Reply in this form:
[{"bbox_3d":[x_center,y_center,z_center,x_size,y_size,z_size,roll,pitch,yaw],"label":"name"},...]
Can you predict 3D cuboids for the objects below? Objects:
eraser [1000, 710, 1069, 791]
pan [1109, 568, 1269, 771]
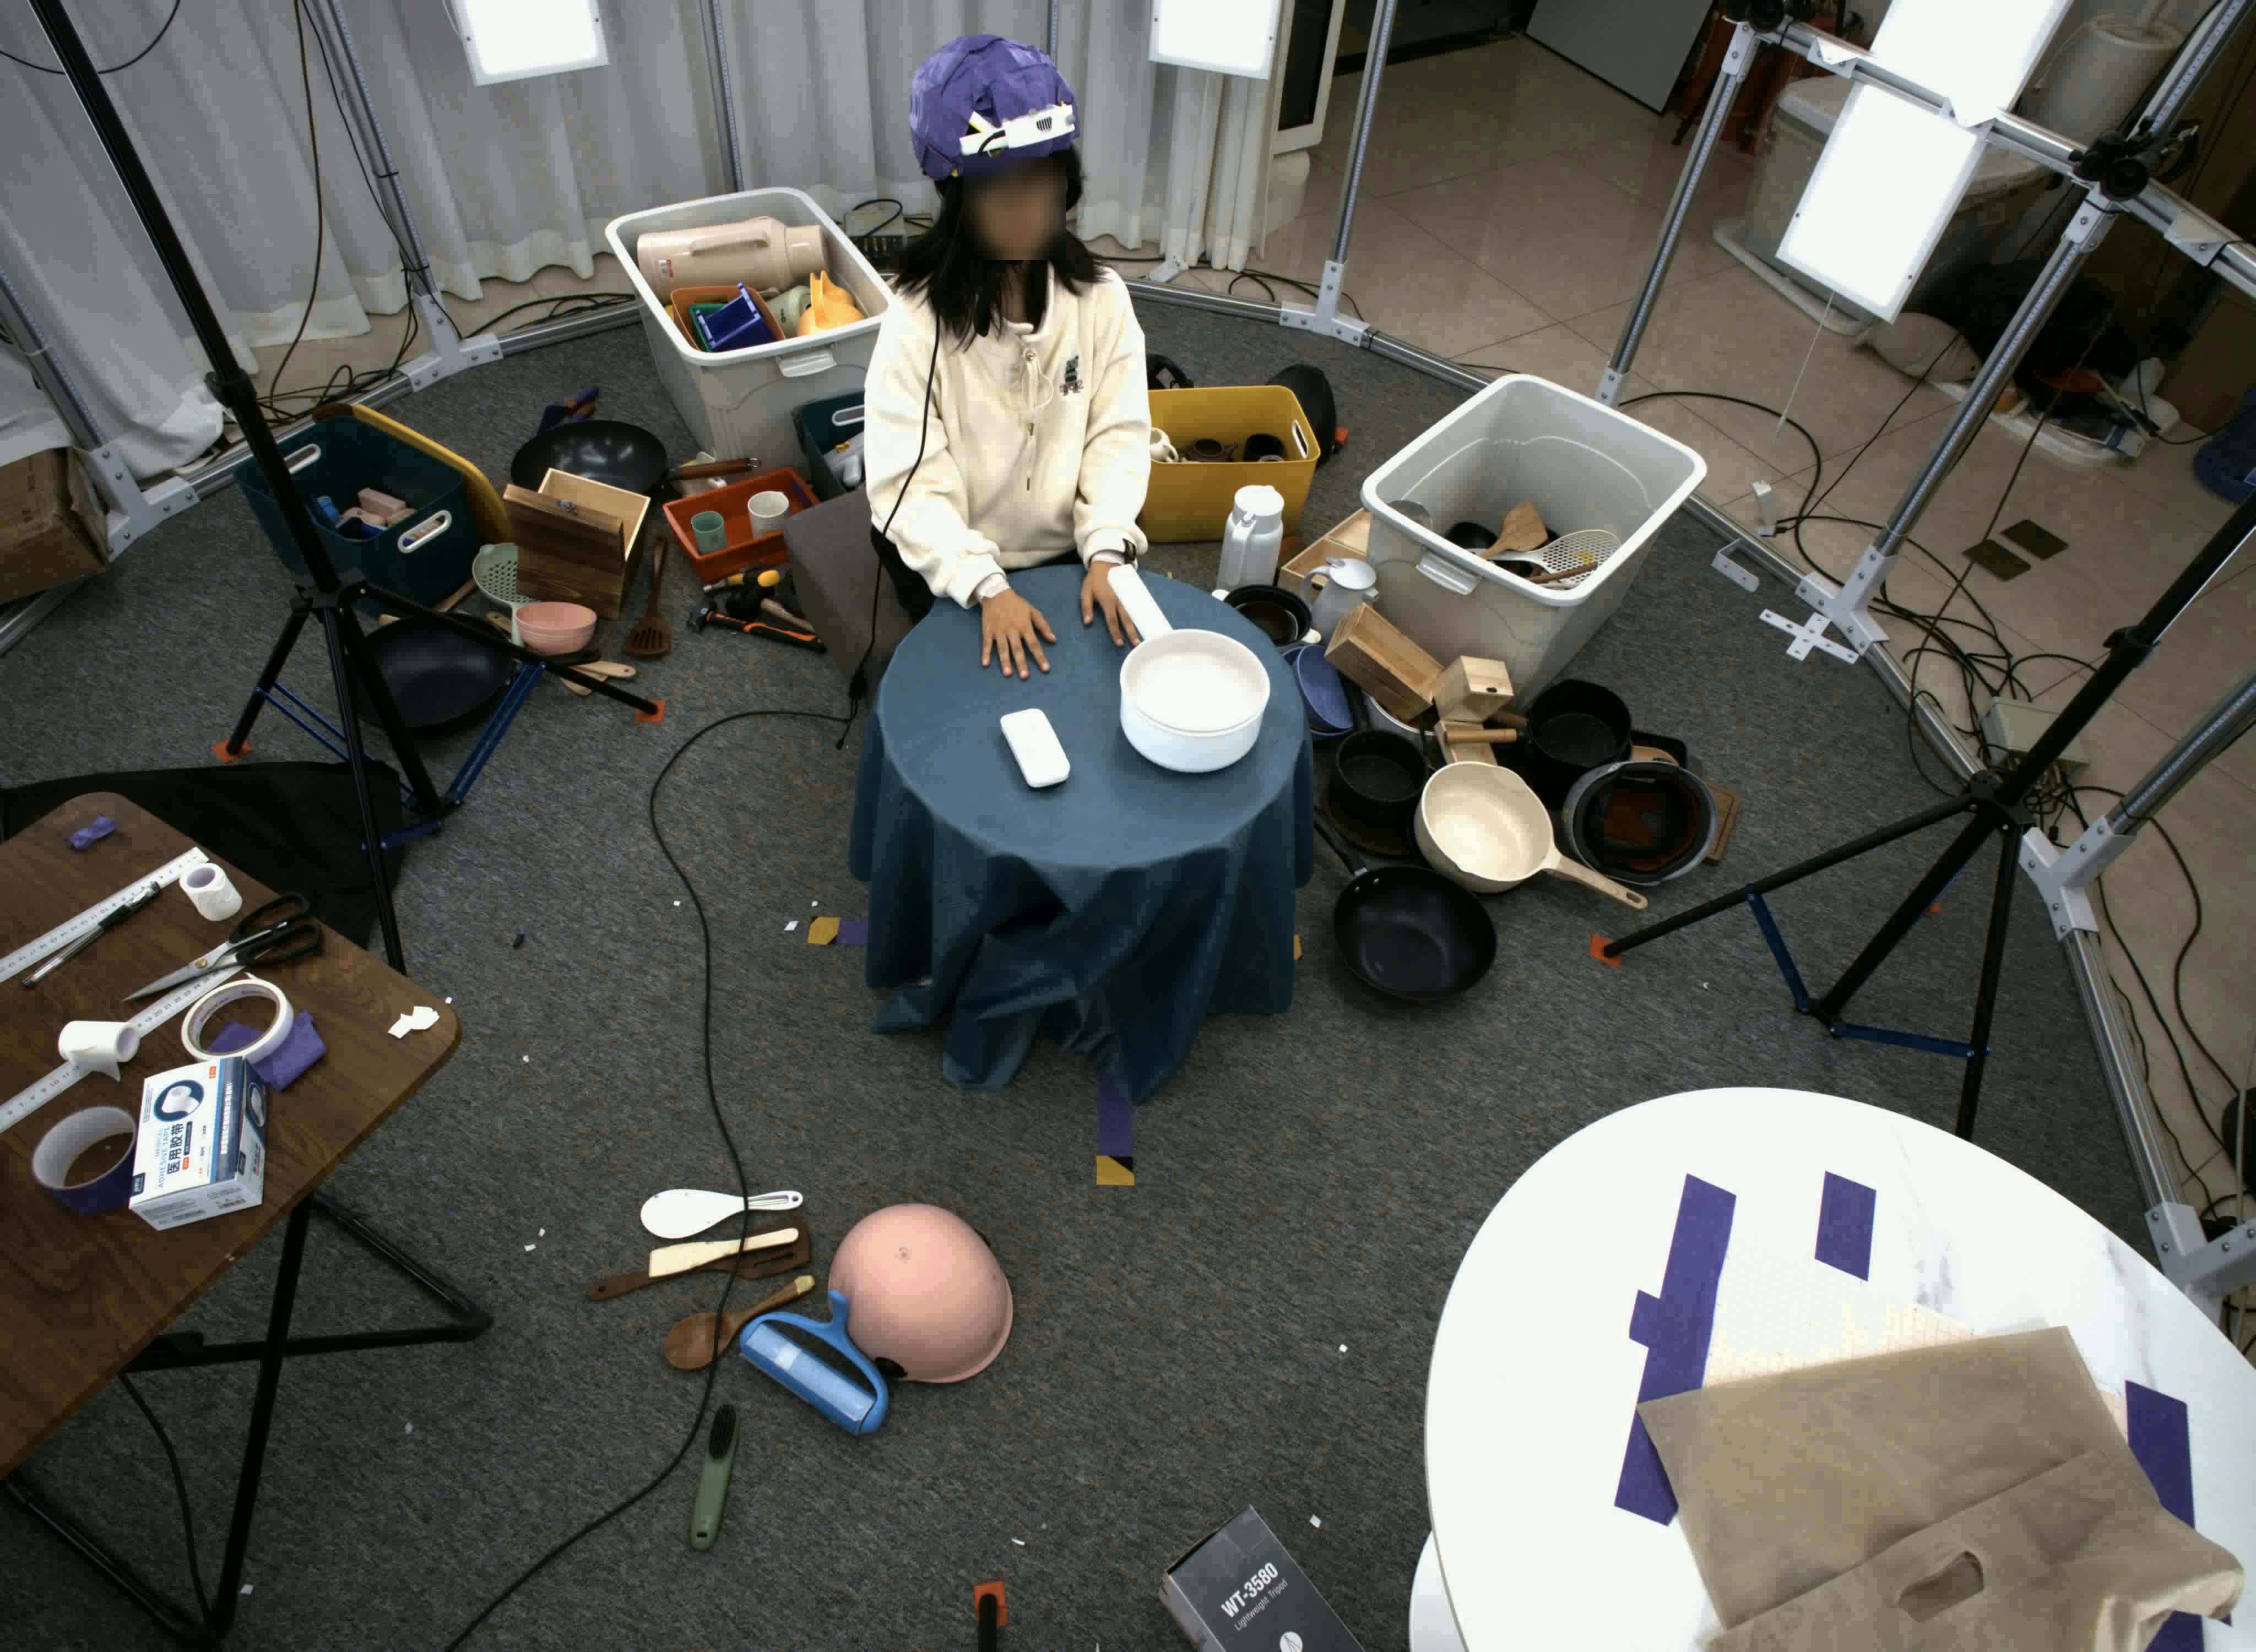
[{"bbox_3d":[-0.126,-0.105,1.734,0.063,0.034,0.134,-13,52,-18],"label":"eraser"},{"bbox_3d":[0.056,-0.220,1.801,0.201,0.099,0.363,-15,50,-18],"label":"pan"}]
